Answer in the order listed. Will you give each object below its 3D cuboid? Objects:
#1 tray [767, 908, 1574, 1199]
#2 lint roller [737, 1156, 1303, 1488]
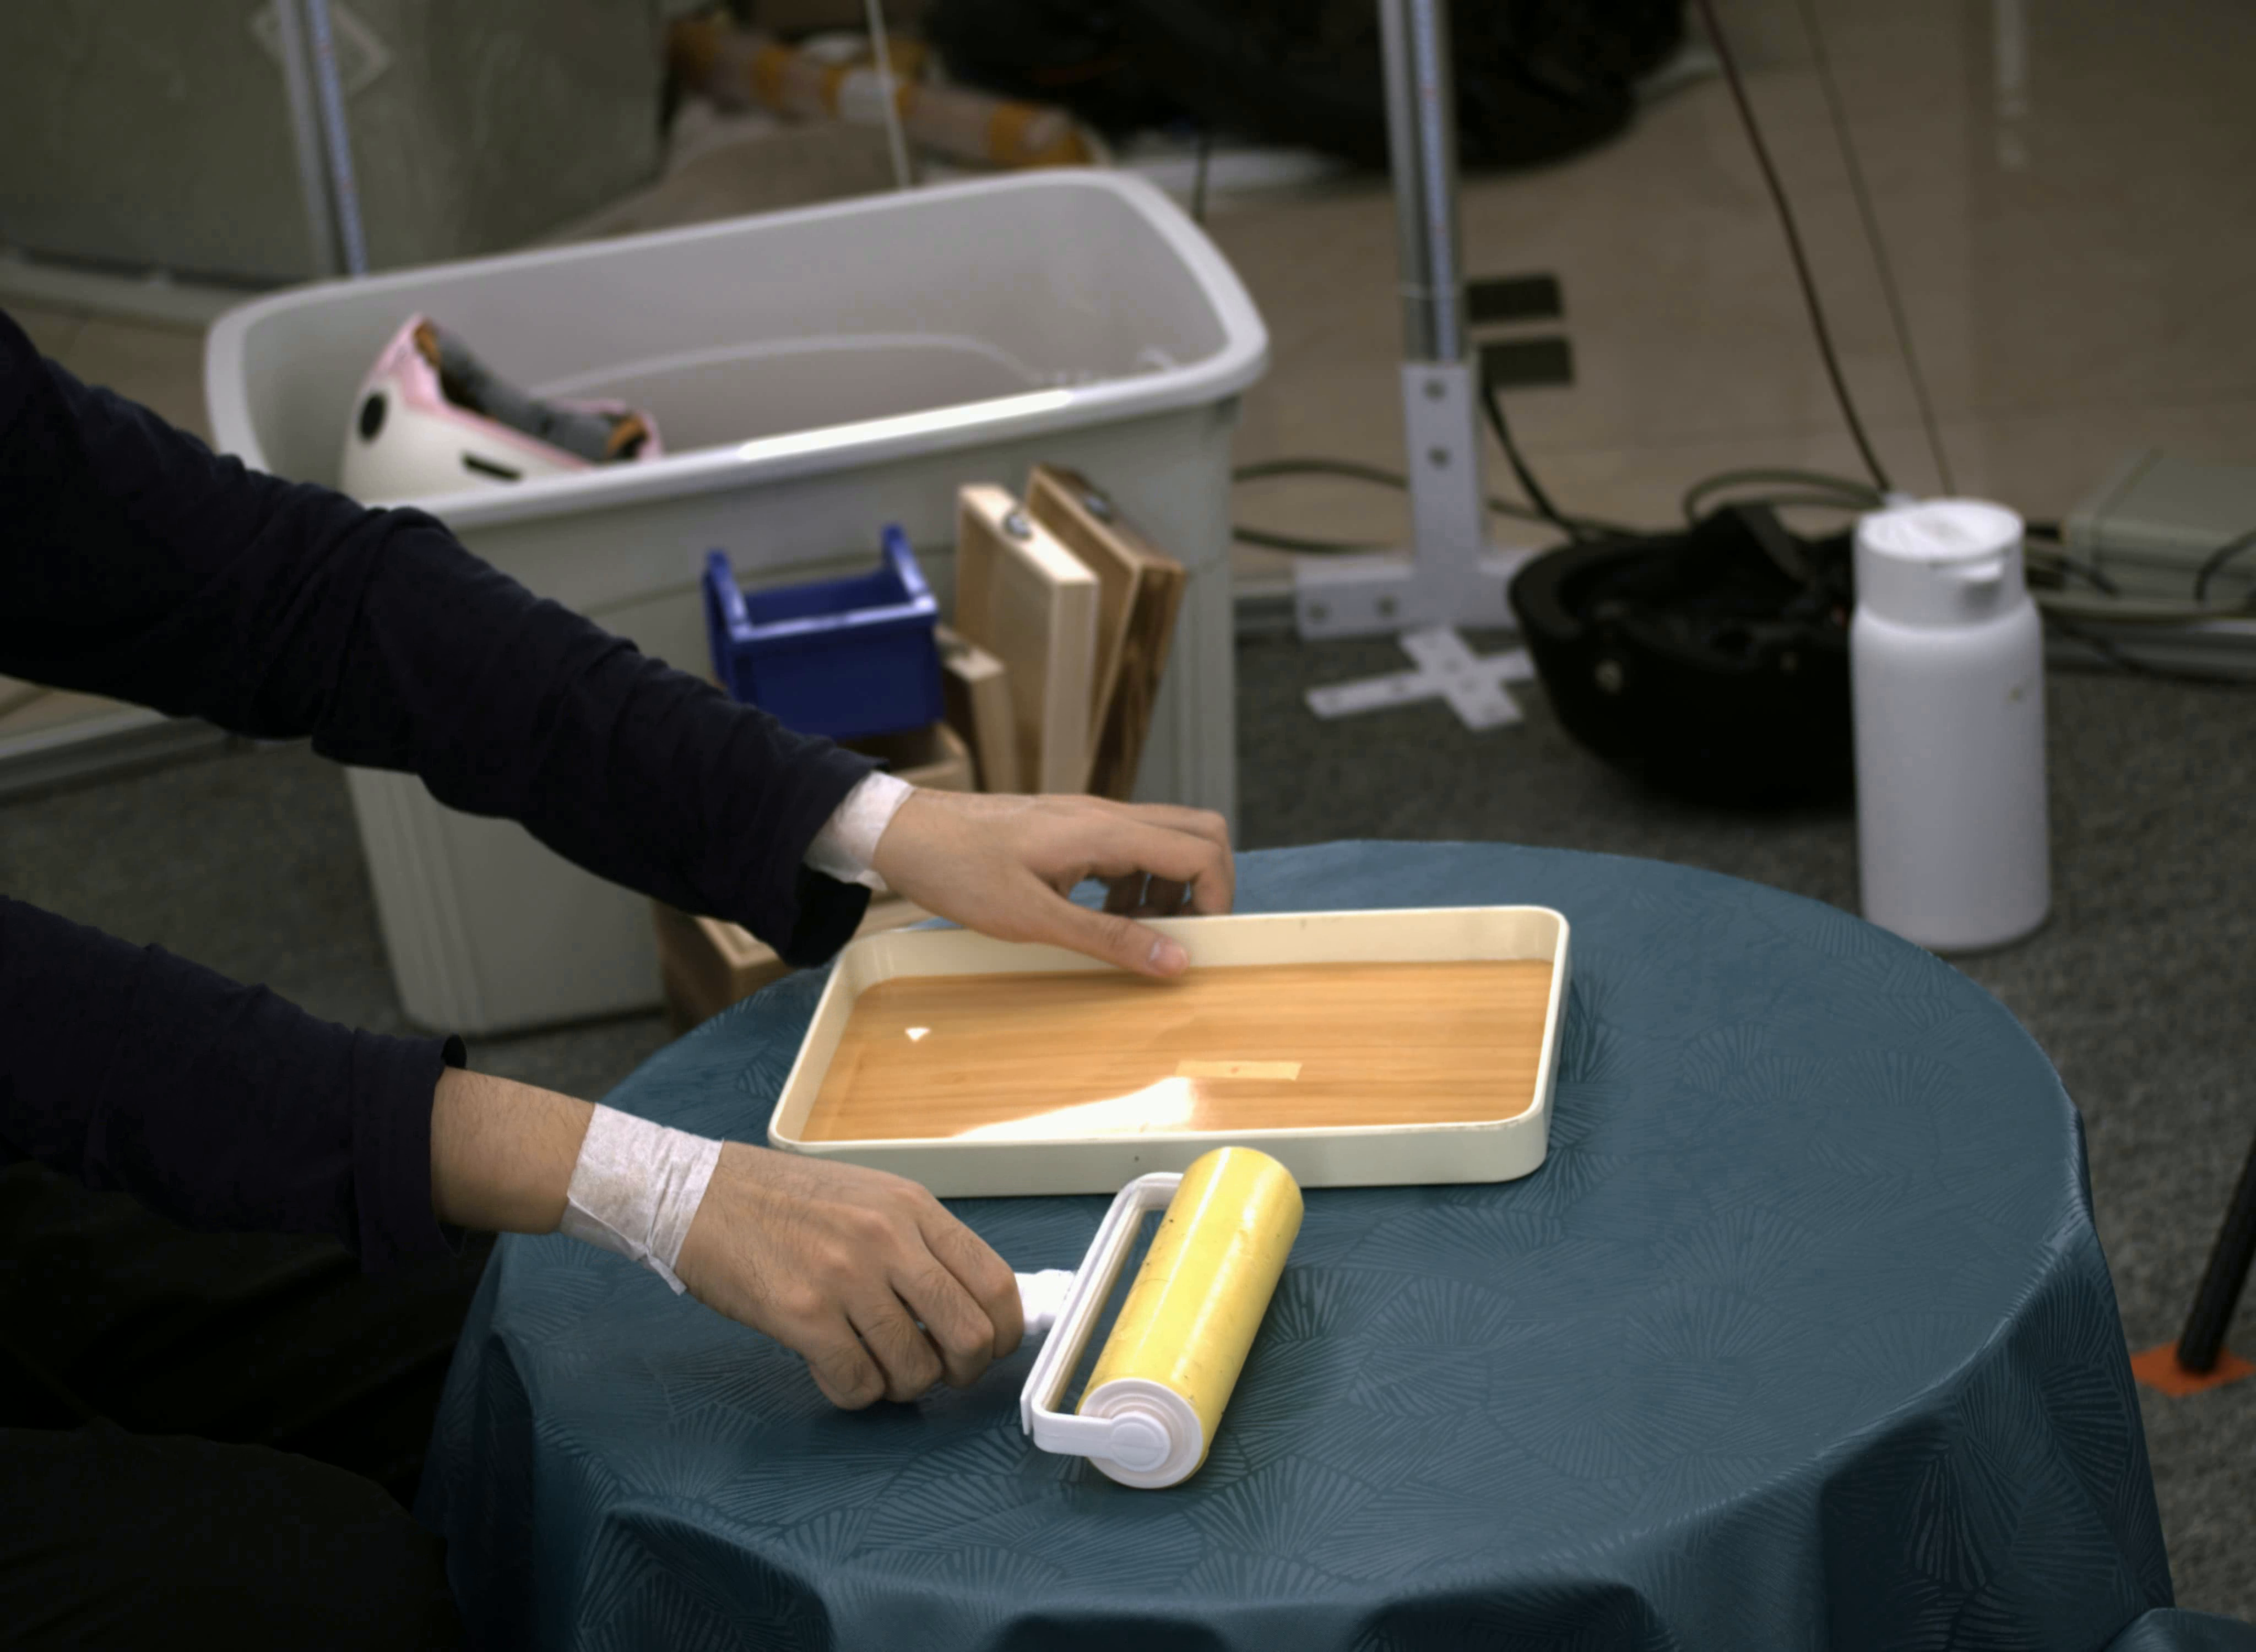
[{"bbox_3d":[0.020,0.089,2.224,0.300,0.028,0.189,-2,24,10],"label":"tray"},{"bbox_3d":[-0.046,0.165,2.025,0.191,0.052,0.172,10,27,8],"label":"lint roller"}]
